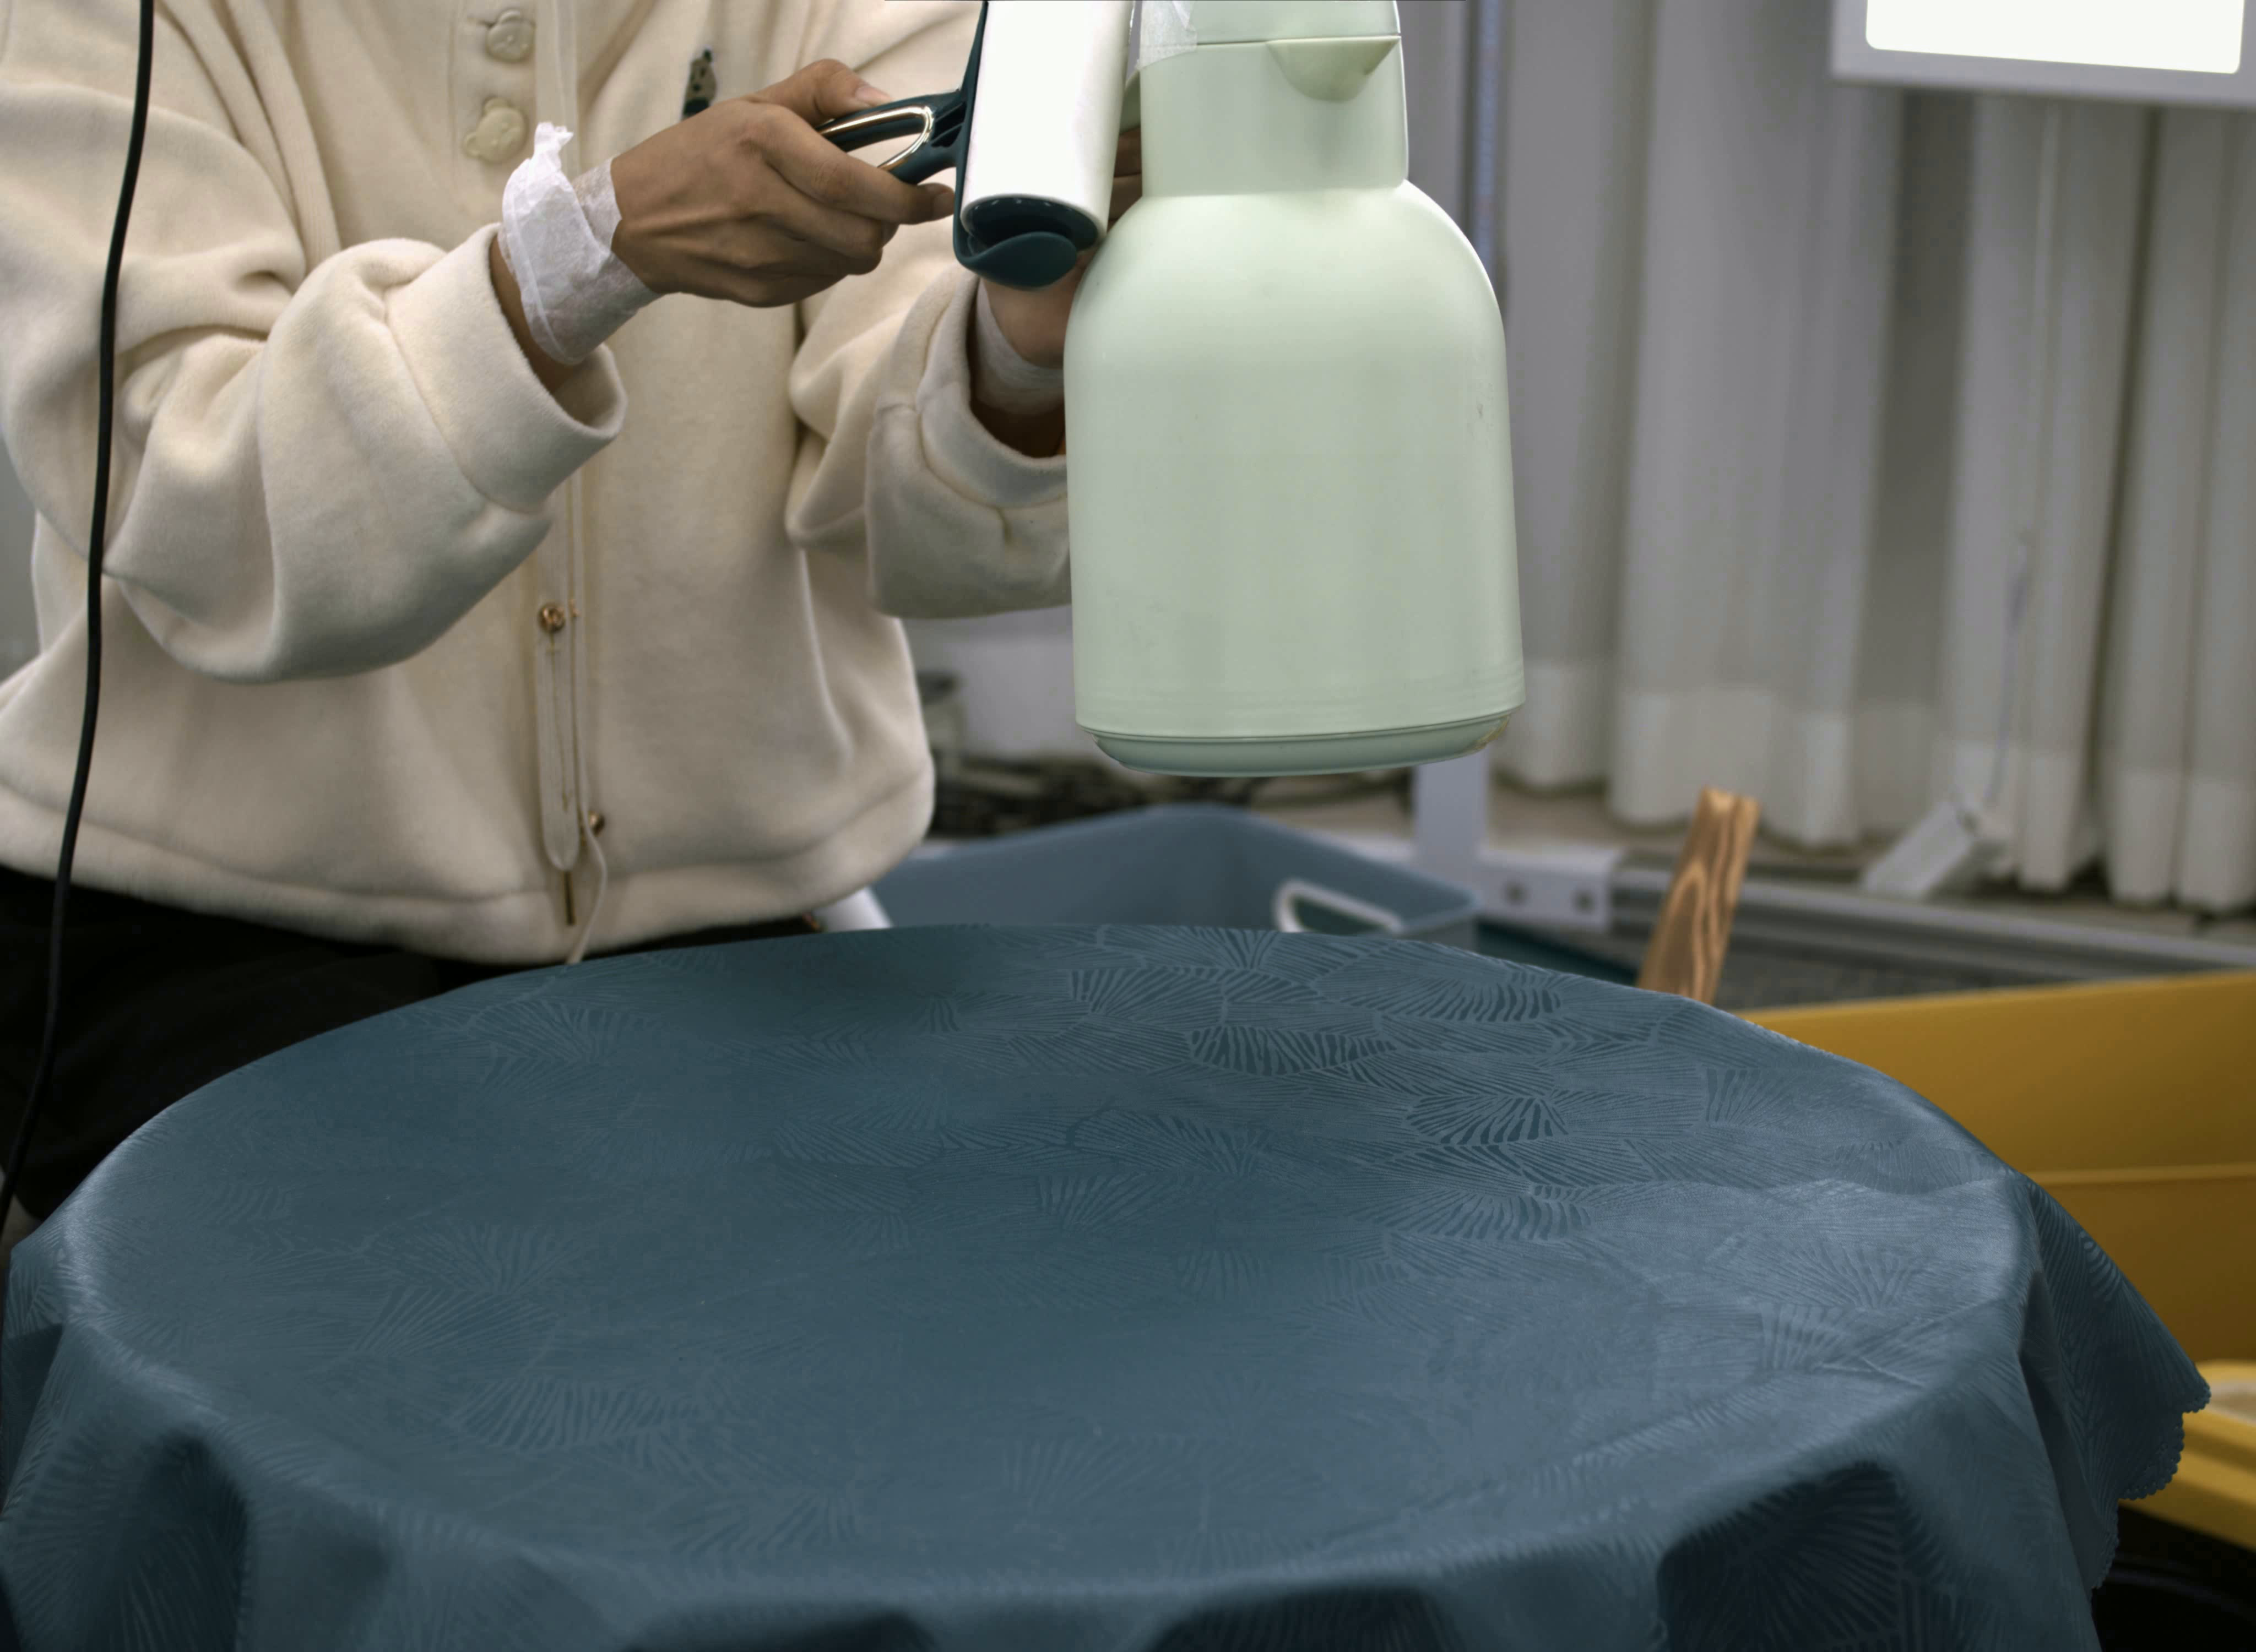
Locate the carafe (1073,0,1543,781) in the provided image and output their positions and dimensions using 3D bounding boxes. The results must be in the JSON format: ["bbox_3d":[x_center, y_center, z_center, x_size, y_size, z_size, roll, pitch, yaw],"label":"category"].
[{"bbox_3d":[0.047,-0.148,1.689,0.145,0.258,0.185,-8,6,-24],"label":"carafe"}]

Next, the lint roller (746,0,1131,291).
[{"bbox_3d":[-0.076,-0.227,1.719,0.178,0.134,0.049,-10,-25,40],"label":"lint roller"}]
